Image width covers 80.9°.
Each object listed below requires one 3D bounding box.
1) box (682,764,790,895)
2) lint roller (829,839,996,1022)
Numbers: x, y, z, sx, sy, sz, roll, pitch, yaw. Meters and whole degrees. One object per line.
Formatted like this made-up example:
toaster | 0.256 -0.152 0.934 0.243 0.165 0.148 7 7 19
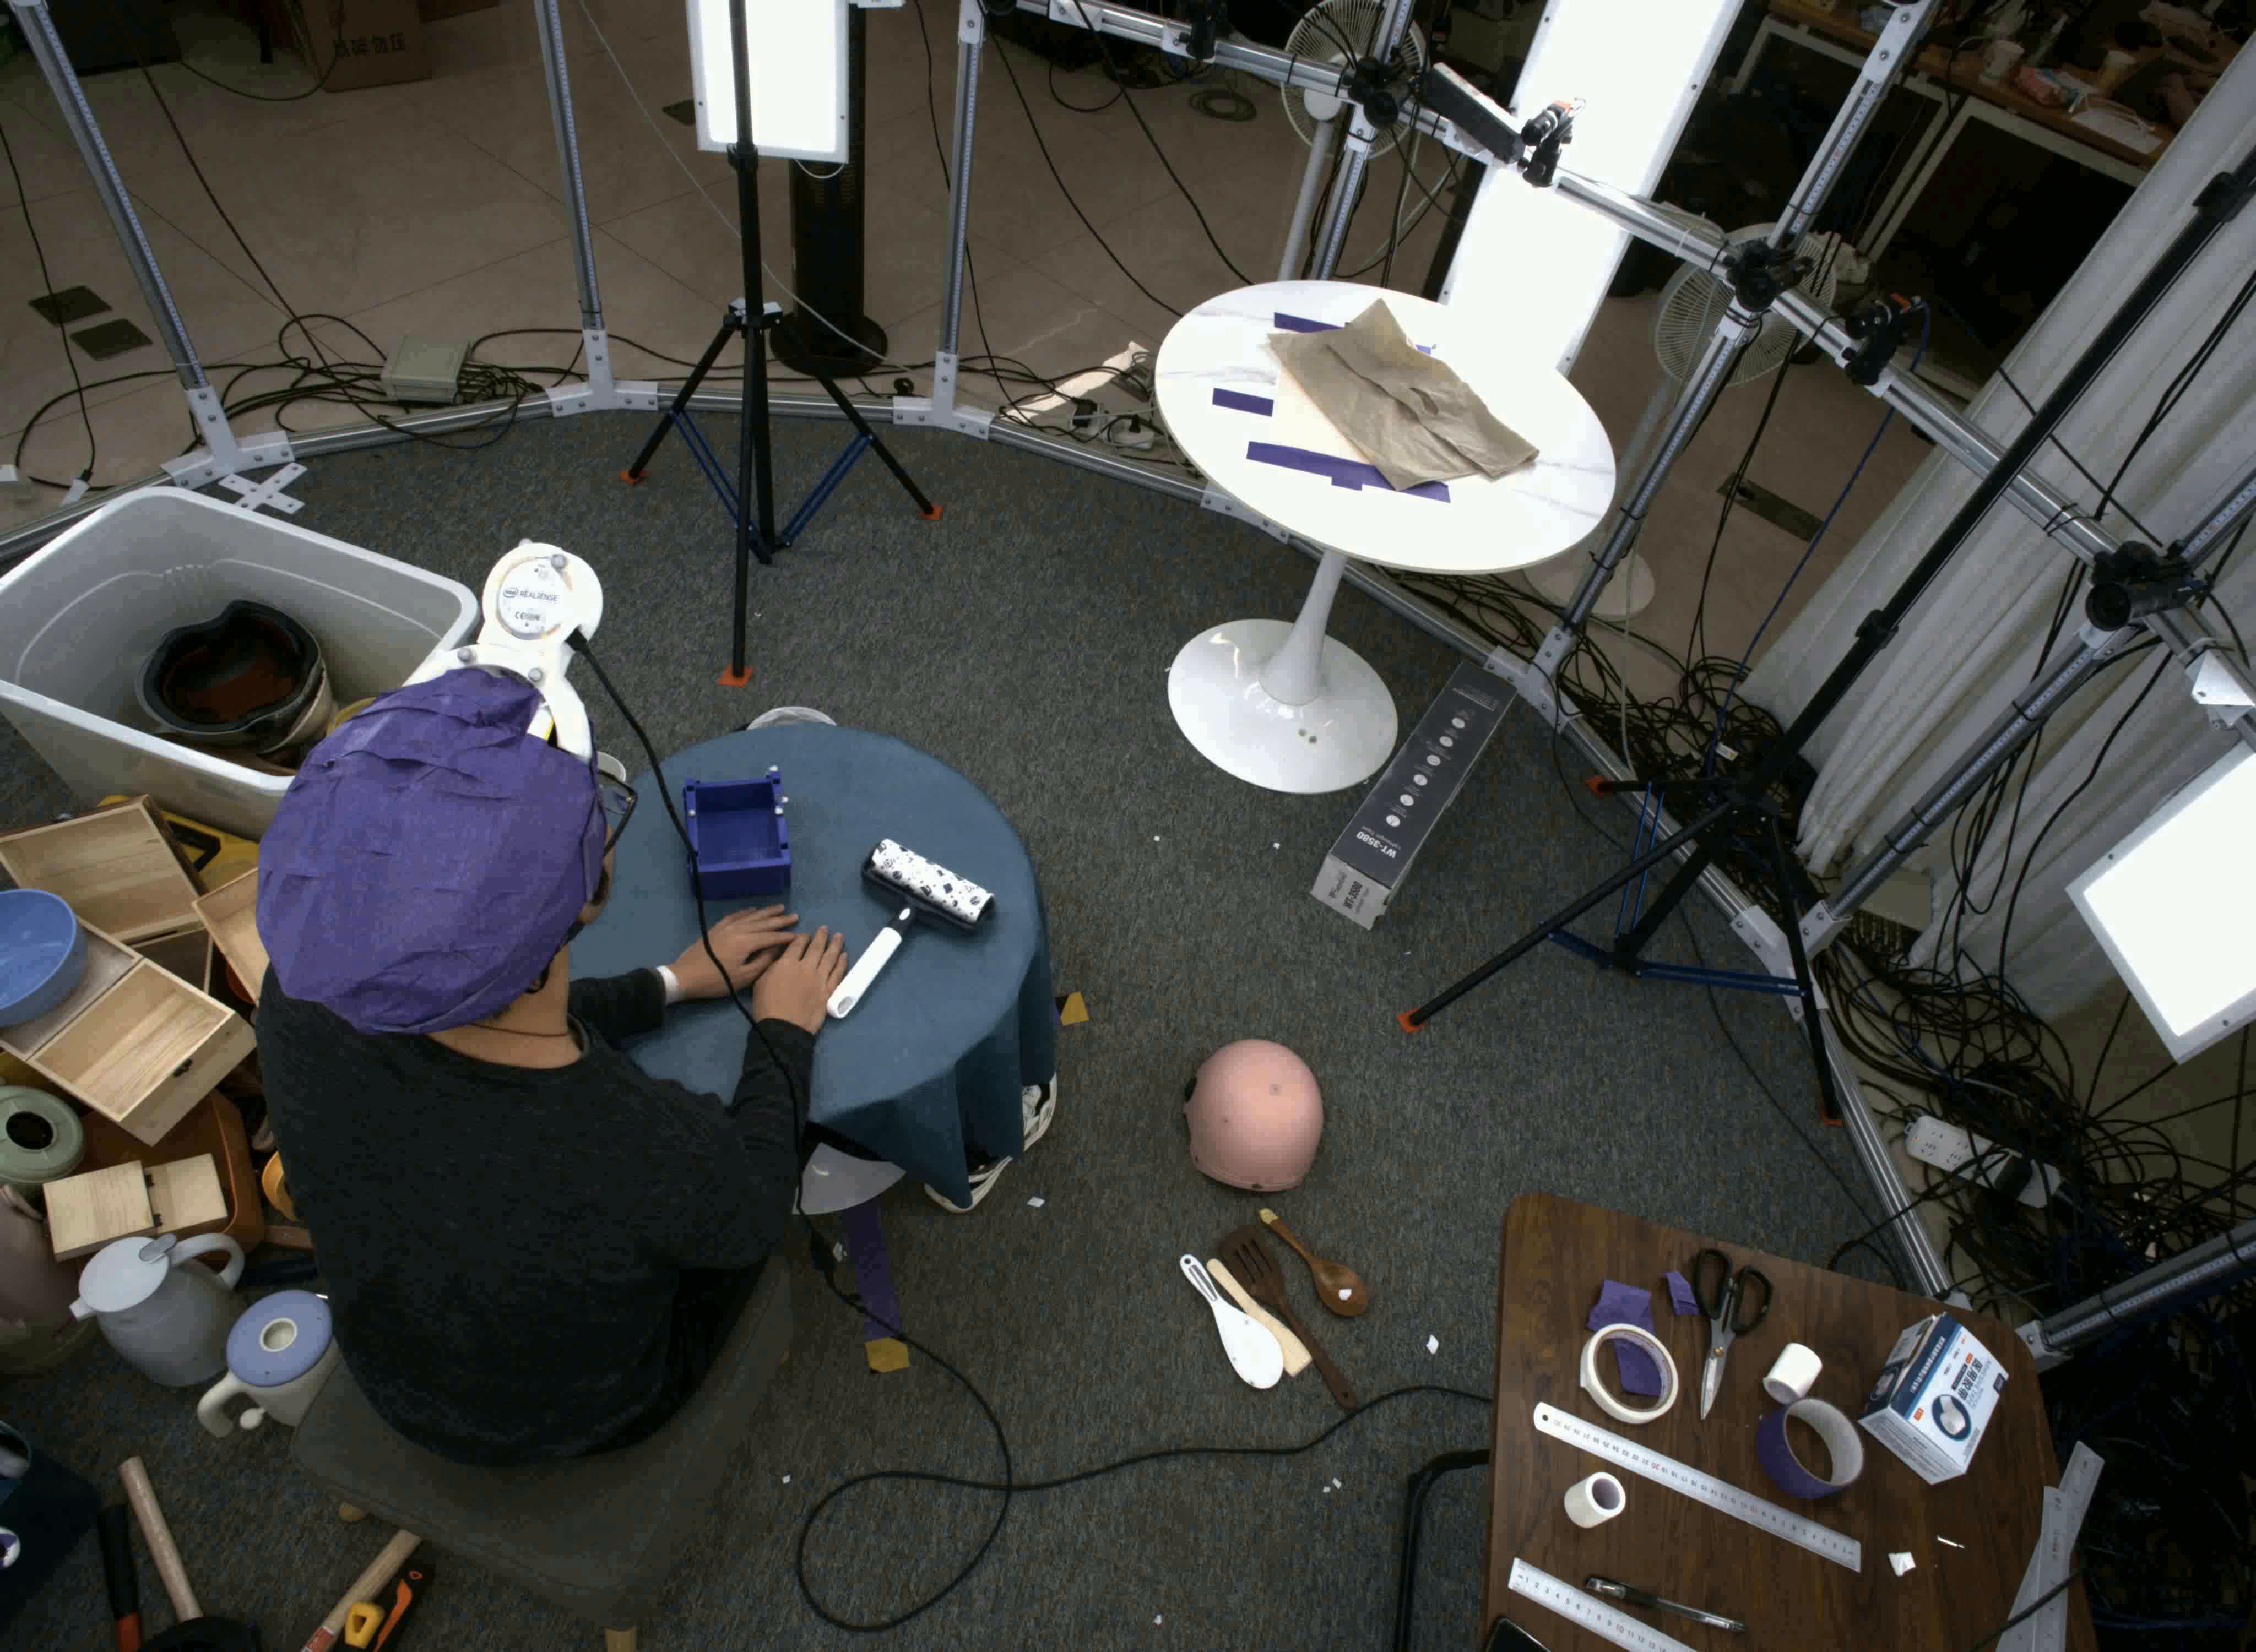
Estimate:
box | -0.502 -0.004 1.648 0.125 0.083 0.175 -5 57 -17
lint roller | -0.296 0.139 1.621 0.174 0.051 0.245 27 53 6
